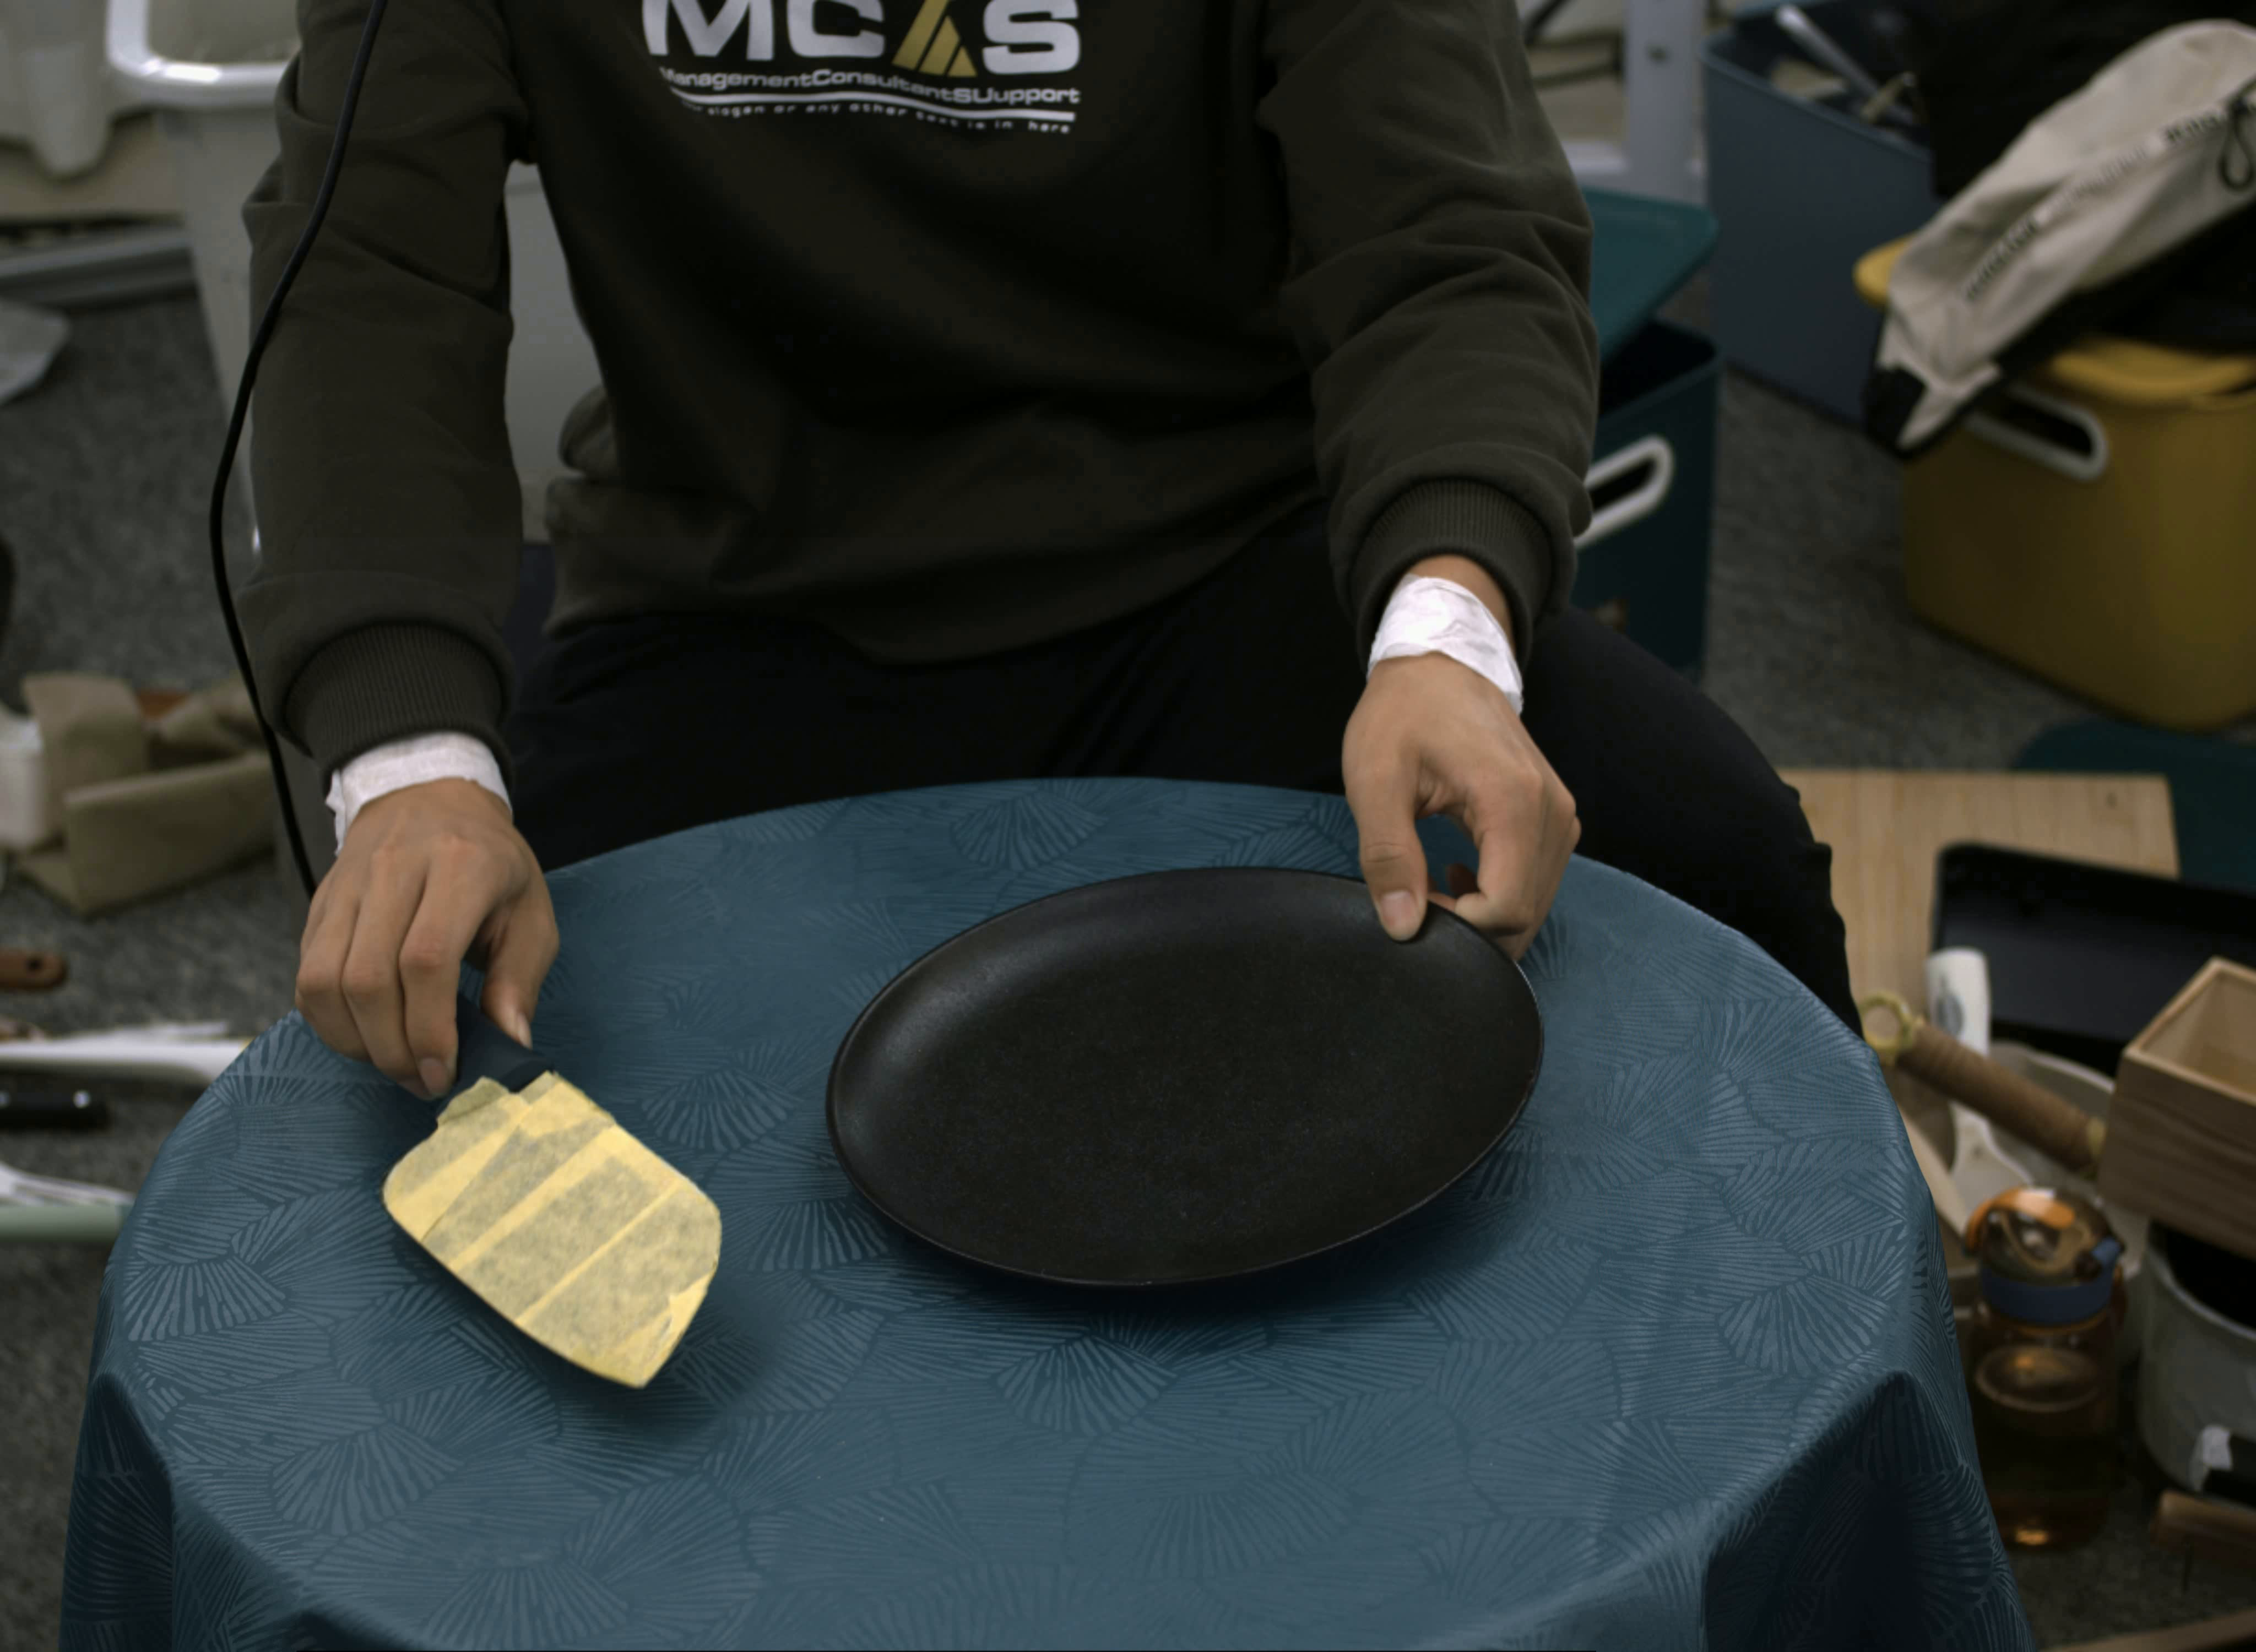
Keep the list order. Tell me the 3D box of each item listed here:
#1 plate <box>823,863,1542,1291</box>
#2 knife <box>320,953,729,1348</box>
[{"bbox_3d":[0.018,0.087,1.882,0.243,0.023,0.248,-5,32,3],"label":"plate"},{"bbox_3d":[-0.210,0.106,1.846,0.081,0.027,0.290,-35,34,-15],"label":"knife"}]
